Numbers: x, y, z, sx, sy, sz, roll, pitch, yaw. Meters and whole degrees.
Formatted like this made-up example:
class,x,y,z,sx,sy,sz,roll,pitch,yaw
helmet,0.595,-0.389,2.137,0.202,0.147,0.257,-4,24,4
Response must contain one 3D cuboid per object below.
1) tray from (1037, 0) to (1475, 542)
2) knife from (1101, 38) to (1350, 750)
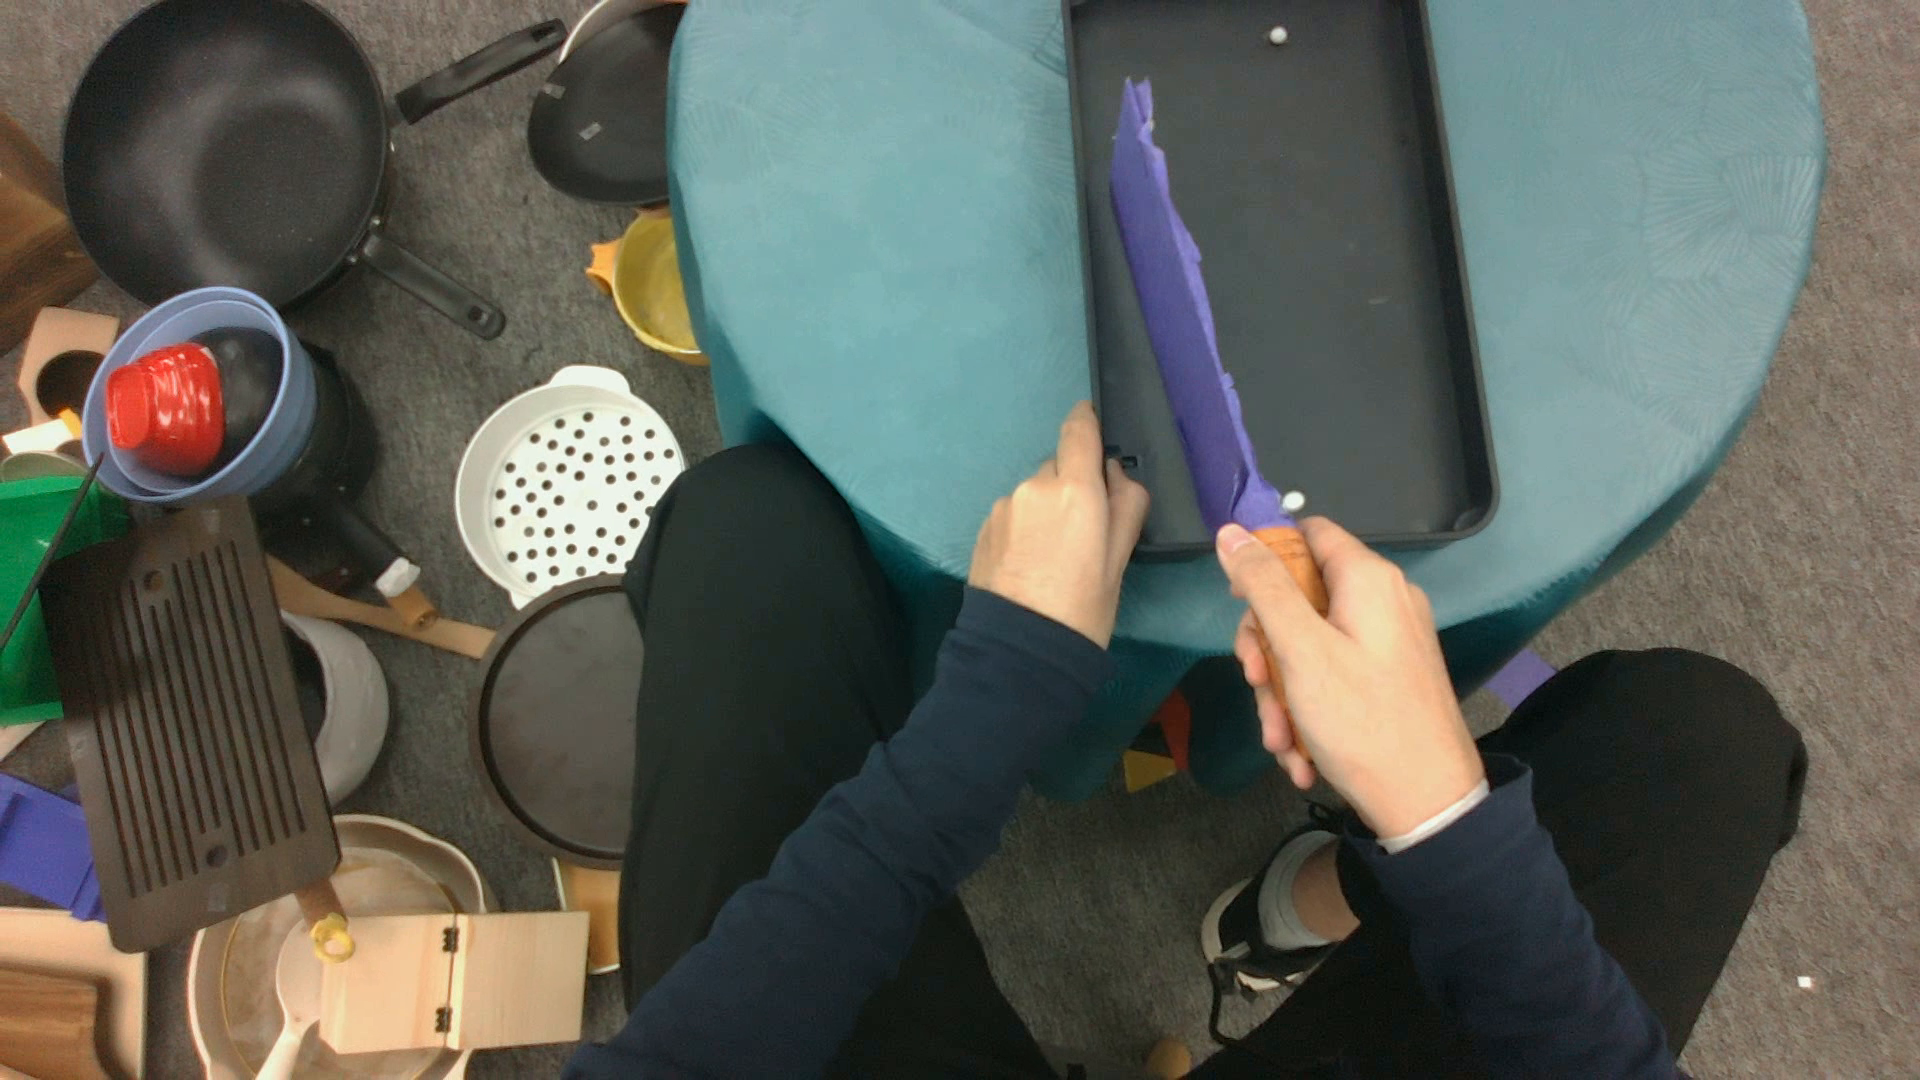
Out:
class,x,y,z,sx,sy,sz,roll,pitch,yaw
tray,0.140,-0.159,0.687,0.184,0.037,0.318,-4,77,-2
knife,0.107,-0.060,0.599,0.032,0.103,0.316,-10,72,-2
